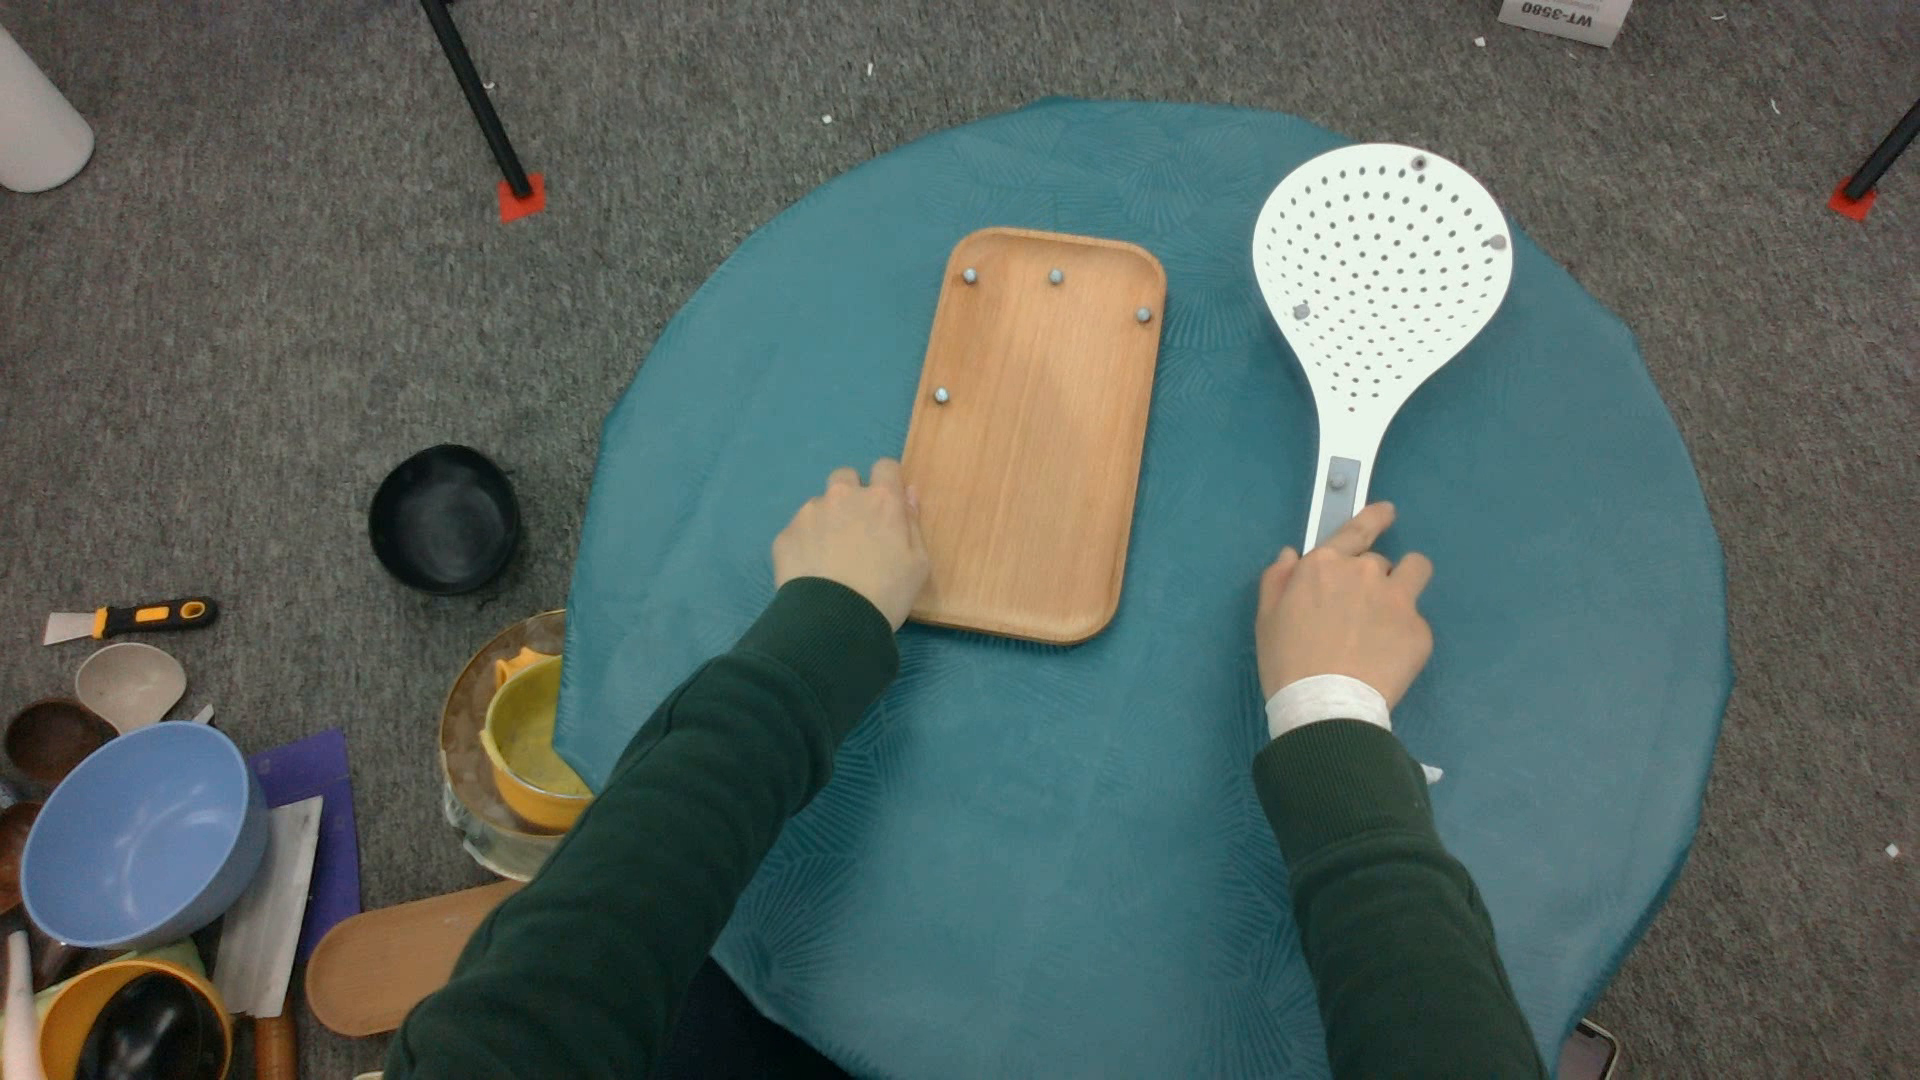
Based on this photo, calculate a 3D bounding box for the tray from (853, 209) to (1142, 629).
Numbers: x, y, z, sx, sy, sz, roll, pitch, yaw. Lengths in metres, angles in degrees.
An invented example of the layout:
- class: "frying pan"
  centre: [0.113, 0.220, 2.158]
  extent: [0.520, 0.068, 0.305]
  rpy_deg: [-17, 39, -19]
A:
- class: "tray"
  centre: [0.024, -0.072, 0.752]
  extent: [0.130, 0.023, 0.251]
  rpy_deg: [8, 66, 7]

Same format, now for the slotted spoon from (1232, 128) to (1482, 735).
- class: "slotted spoon"
  centre: [0.194, -0.067, 0.729]
  extent: [0.136, 0.045, 0.351]
  rpy_deg: [11, 66, 9]
